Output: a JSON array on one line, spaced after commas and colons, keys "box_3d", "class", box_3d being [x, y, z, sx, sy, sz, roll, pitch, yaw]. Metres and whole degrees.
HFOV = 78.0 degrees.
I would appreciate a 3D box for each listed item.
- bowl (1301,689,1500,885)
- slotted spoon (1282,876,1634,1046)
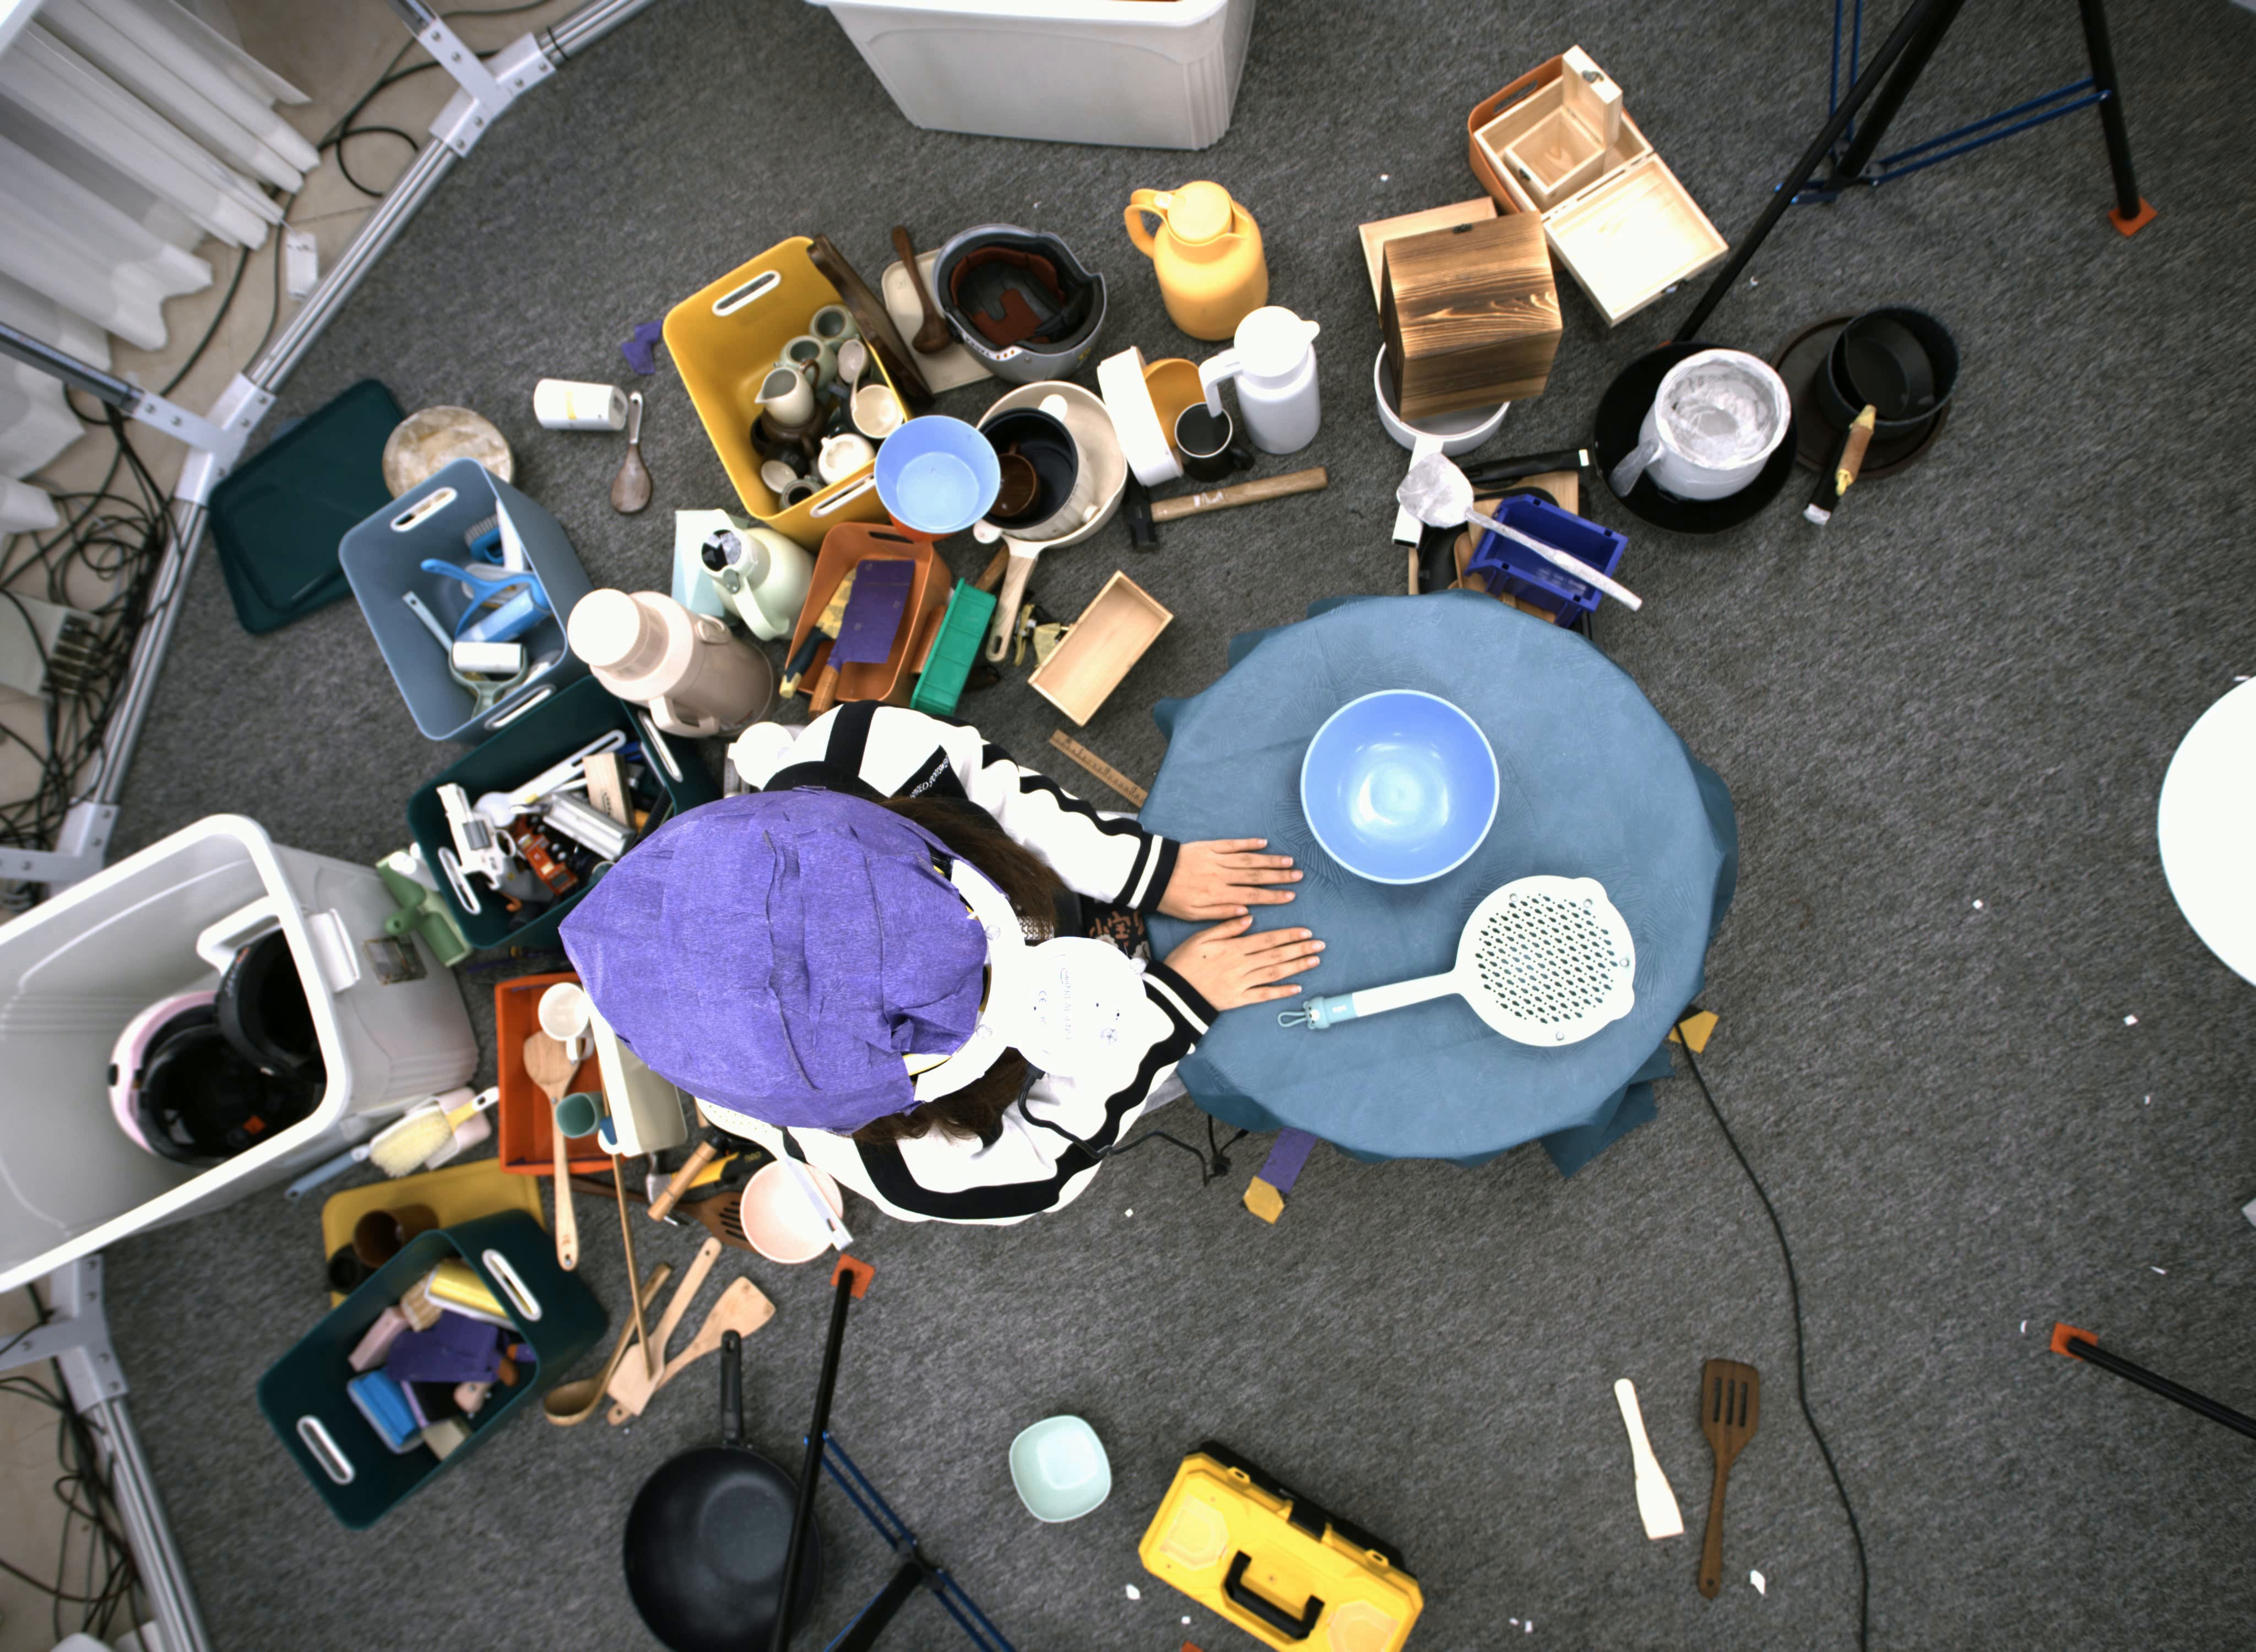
[{"box_3d": [0.278, -0.037, 1.417, 0.197, 0.095, 0.196, -1, 87, 10], "class": "bowl"}, {"box_3d": [0.330, 0.158, 1.415, 0.361, 0.075, 0.168, -15, 83, 11], "class": "slotted spoon"}]
